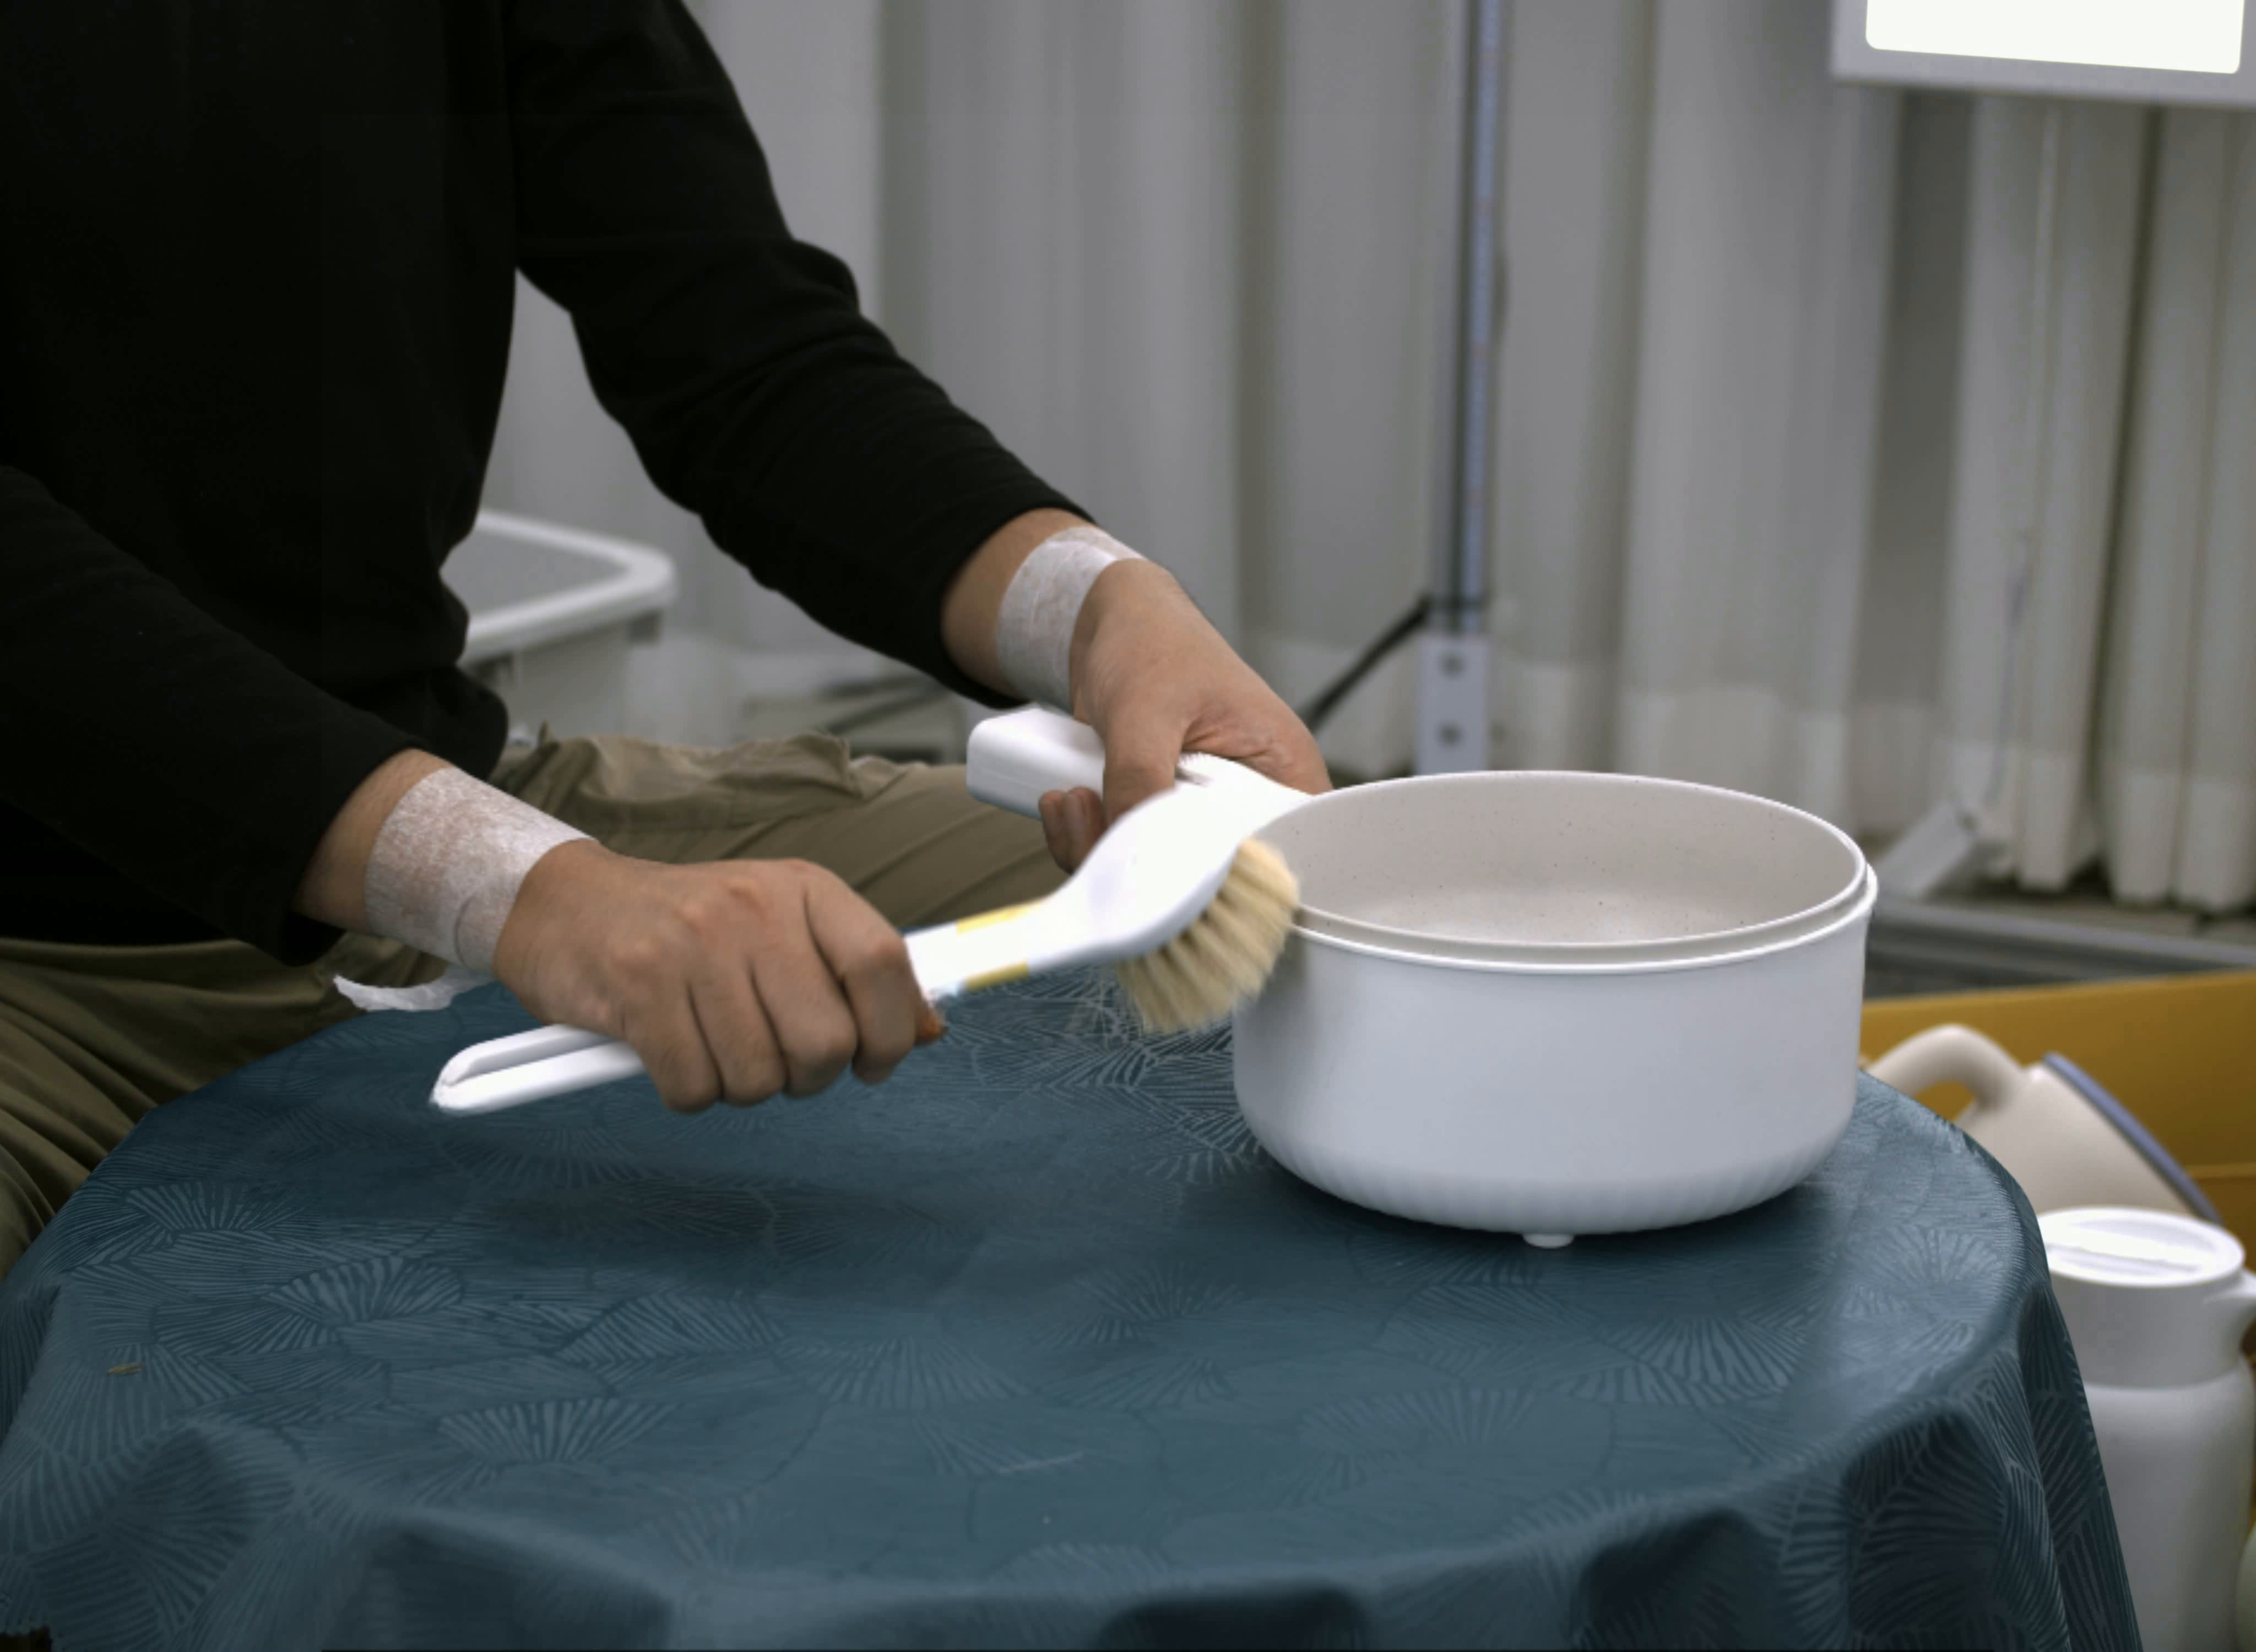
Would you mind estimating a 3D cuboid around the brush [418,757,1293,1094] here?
[{"bbox_3d":[-0.079,0.049,1.577,0.266,0.057,0.068,-20,26,1],"label":"brush"}]

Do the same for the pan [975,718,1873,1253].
[{"bbox_3d":[0.078,0.044,1.690,0.202,0.103,0.350,-15,21,-41],"label":"pan"}]
